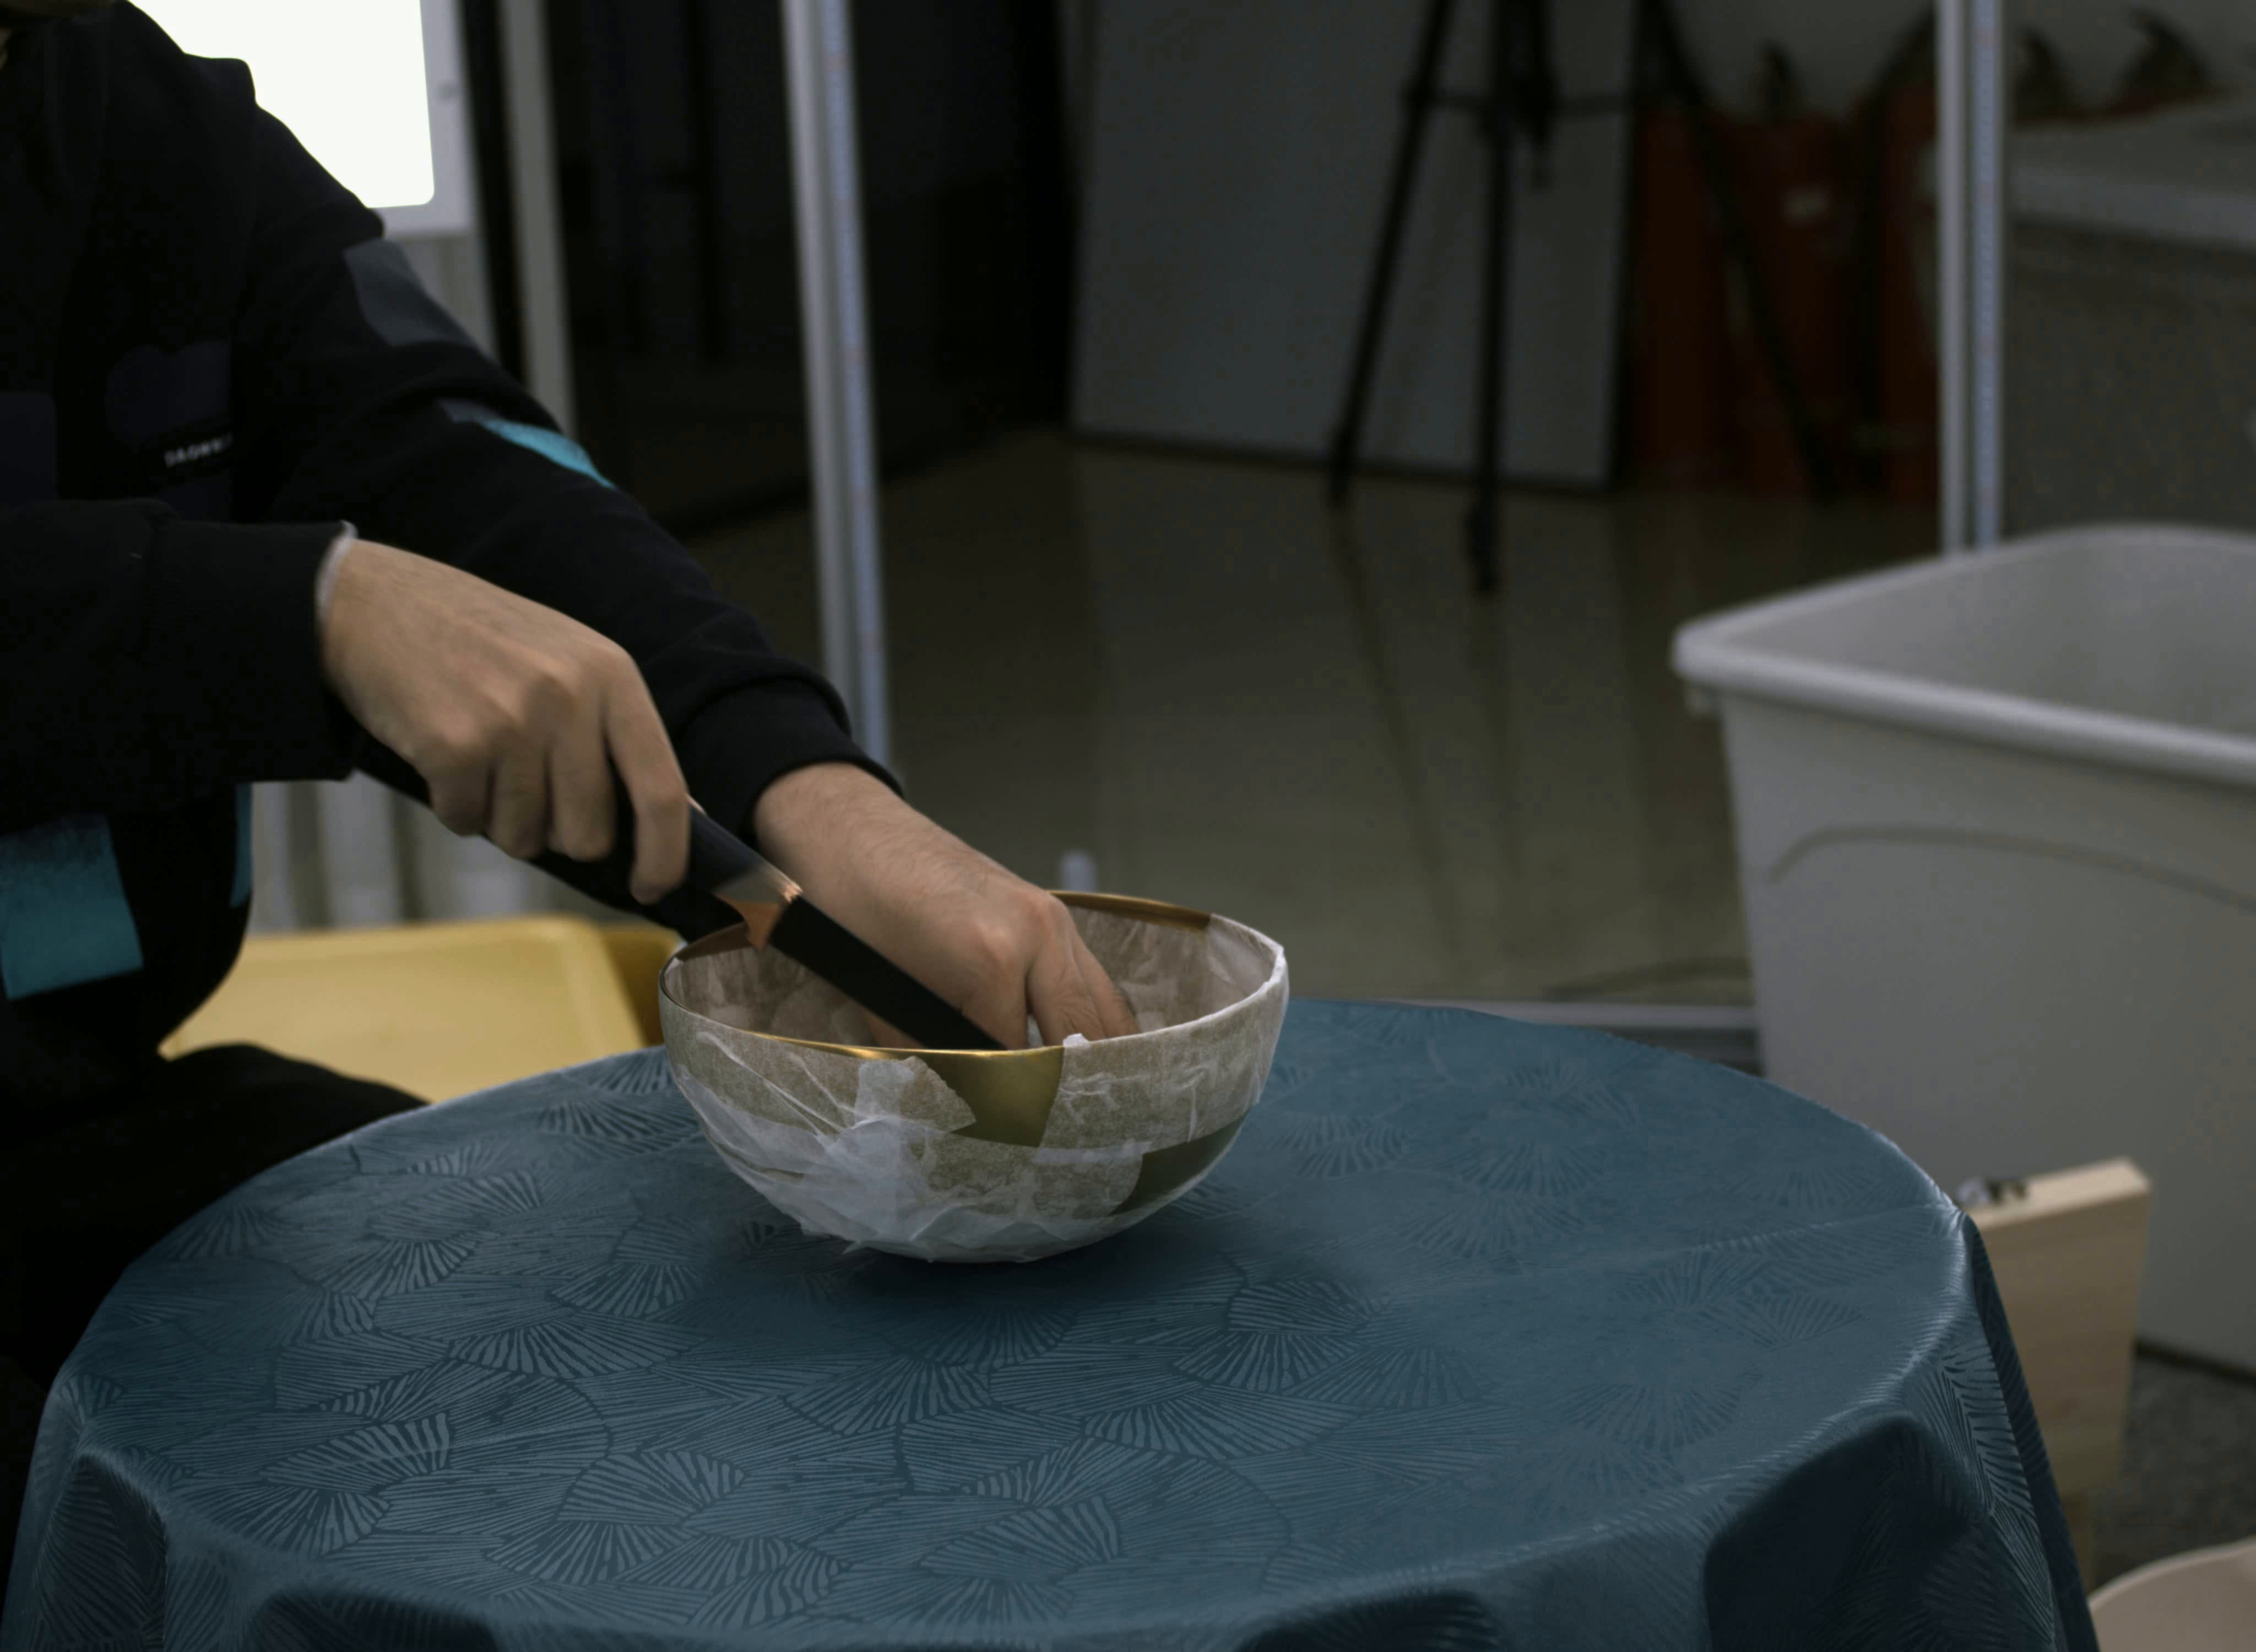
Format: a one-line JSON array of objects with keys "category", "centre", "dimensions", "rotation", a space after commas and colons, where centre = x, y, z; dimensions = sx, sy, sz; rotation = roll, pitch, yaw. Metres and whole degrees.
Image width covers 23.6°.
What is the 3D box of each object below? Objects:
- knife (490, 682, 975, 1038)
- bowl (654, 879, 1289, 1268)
[{"category": "knife", "centre": [-0.110, 0.026, 1.705], "dimensions": [0.225, 0.026, 0.017], "rotation": [36, 25, 4]}, {"category": "bowl", "centre": [-0.050, 0.085, 1.727], "dimensions": [0.212, 0.095, 0.215], "rotation": [-3, 14, 0]}]
